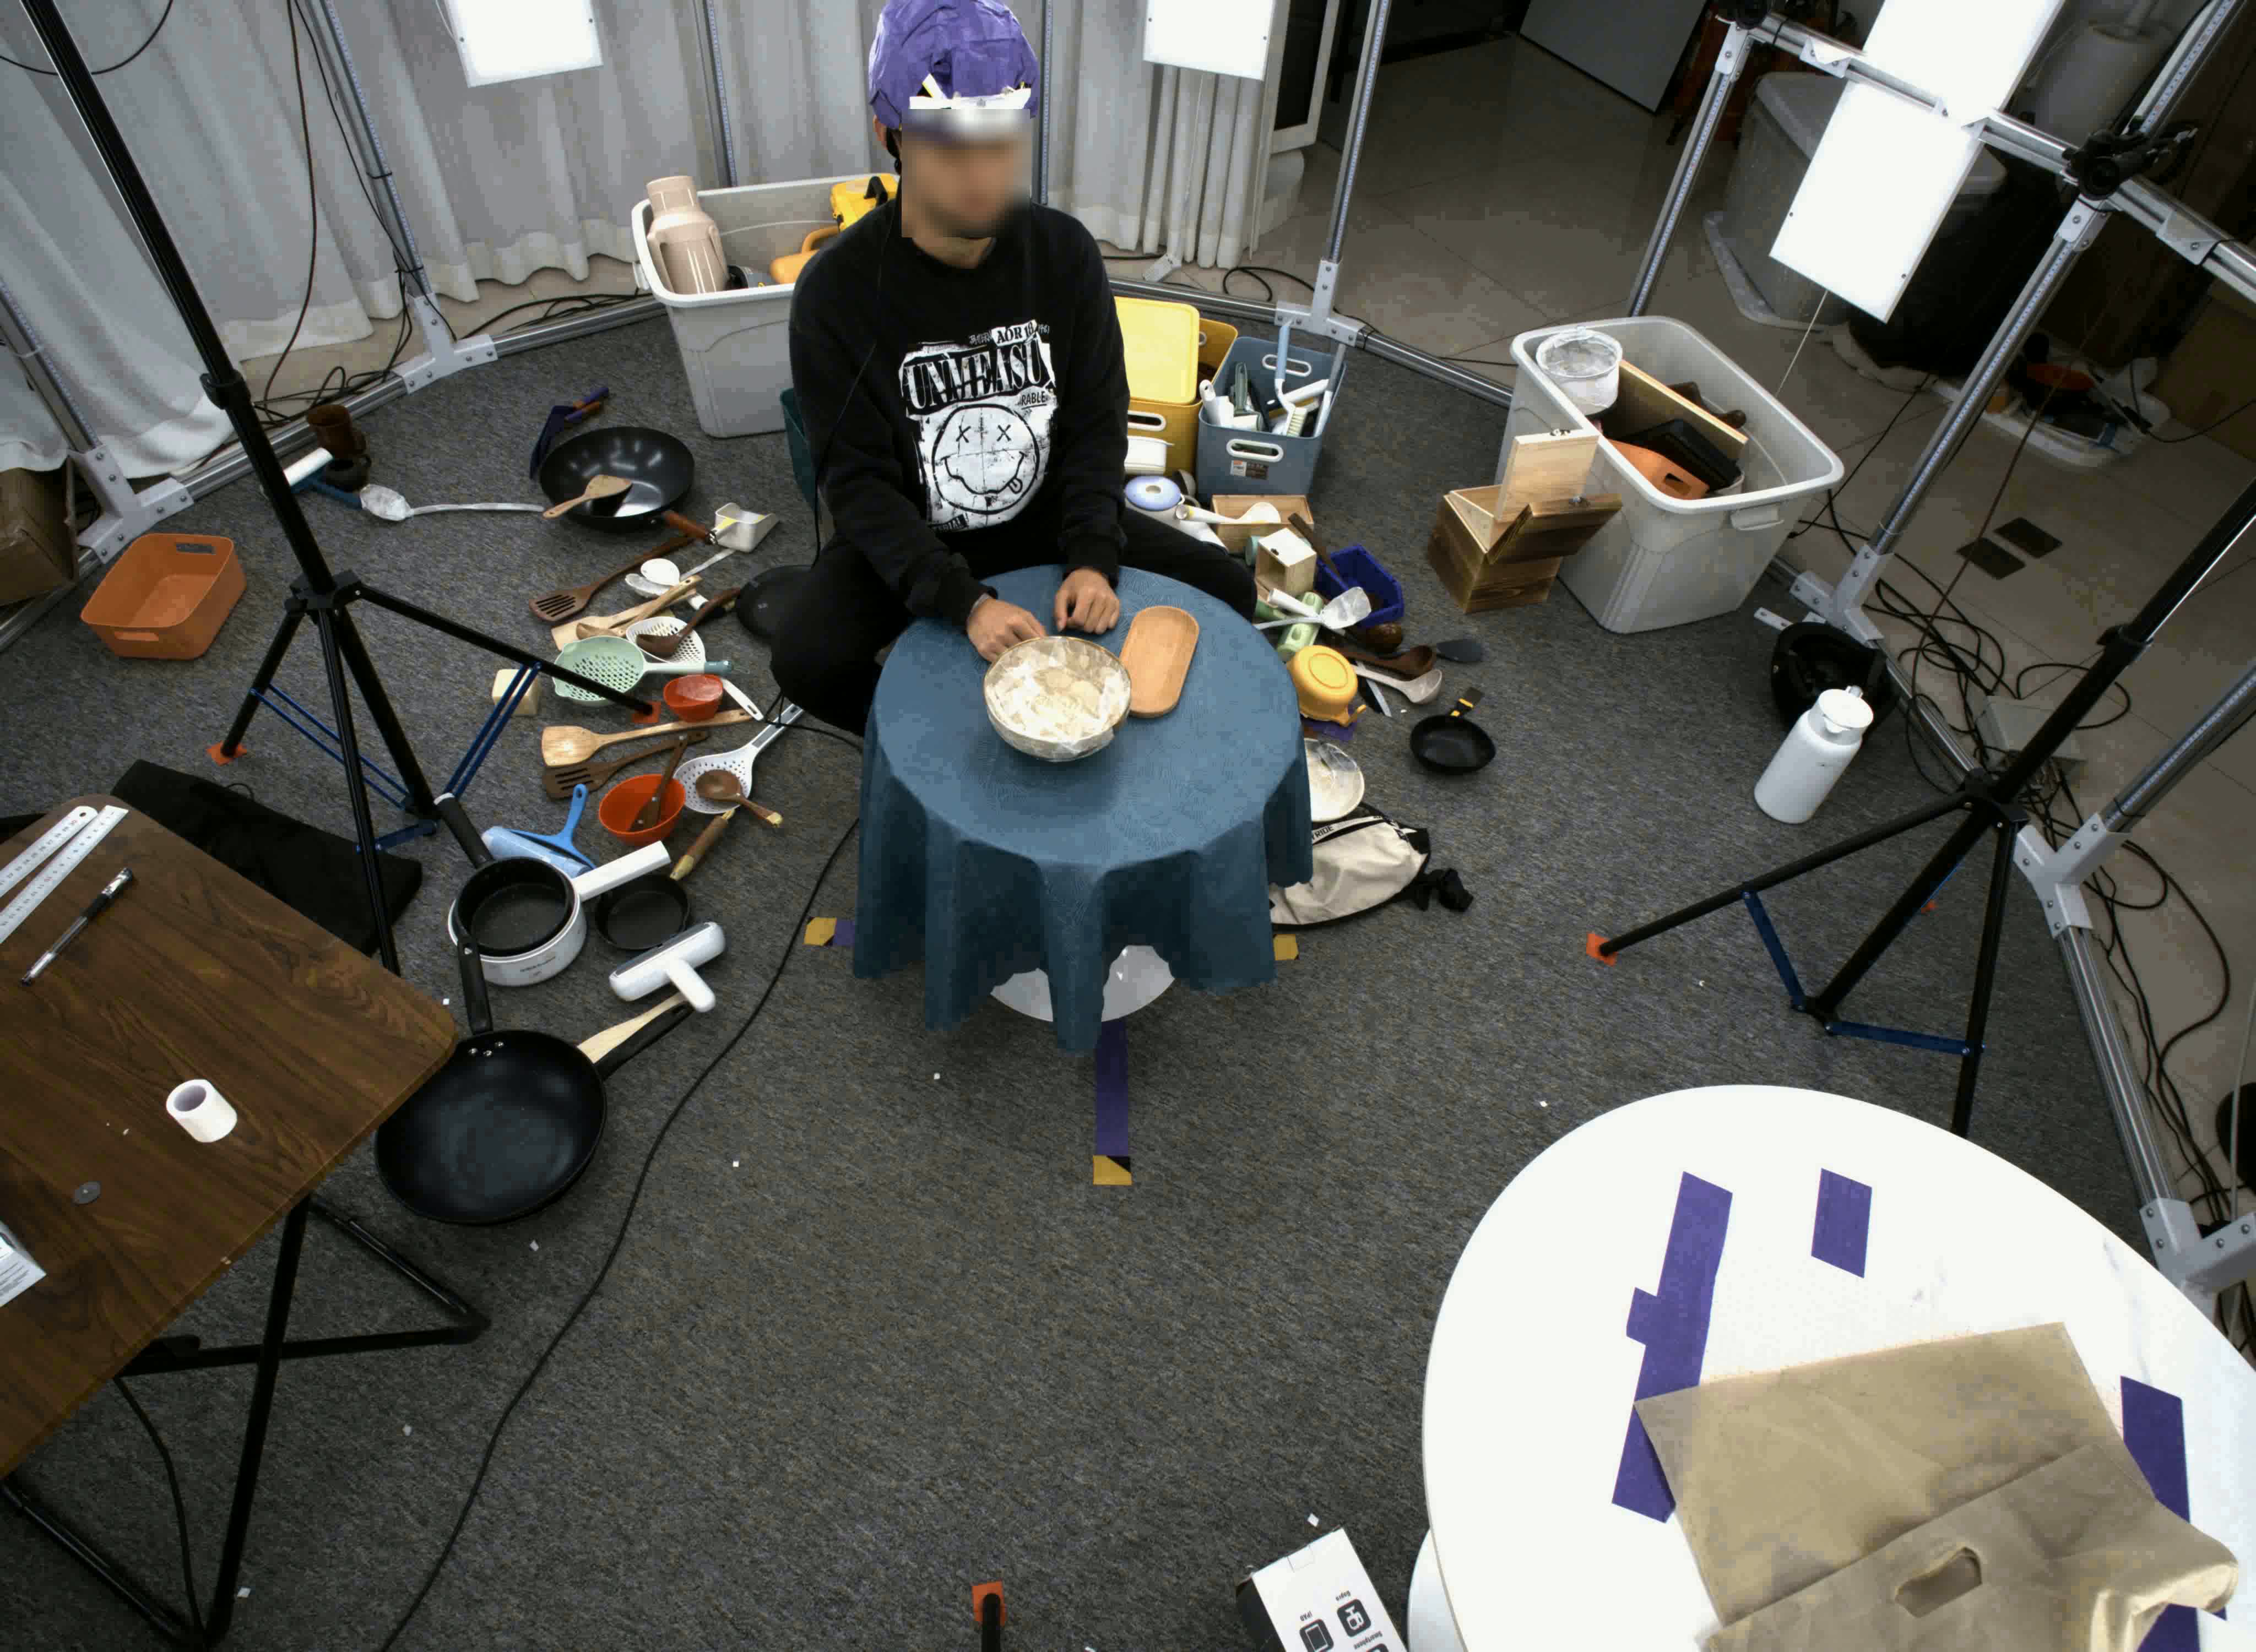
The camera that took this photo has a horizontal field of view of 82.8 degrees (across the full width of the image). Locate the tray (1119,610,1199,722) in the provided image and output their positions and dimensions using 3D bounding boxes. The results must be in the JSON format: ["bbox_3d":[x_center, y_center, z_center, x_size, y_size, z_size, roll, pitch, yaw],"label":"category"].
[{"bbox_3d":[0.041,-0.237,1.884,0.102,0.020,0.236,10,51,8],"label":"tray"}]

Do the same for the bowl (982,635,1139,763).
[{"bbox_3d":[-0.092,-0.160,1.757,0.214,0.092,0.220,1,49,-1],"label":"bowl"}]
